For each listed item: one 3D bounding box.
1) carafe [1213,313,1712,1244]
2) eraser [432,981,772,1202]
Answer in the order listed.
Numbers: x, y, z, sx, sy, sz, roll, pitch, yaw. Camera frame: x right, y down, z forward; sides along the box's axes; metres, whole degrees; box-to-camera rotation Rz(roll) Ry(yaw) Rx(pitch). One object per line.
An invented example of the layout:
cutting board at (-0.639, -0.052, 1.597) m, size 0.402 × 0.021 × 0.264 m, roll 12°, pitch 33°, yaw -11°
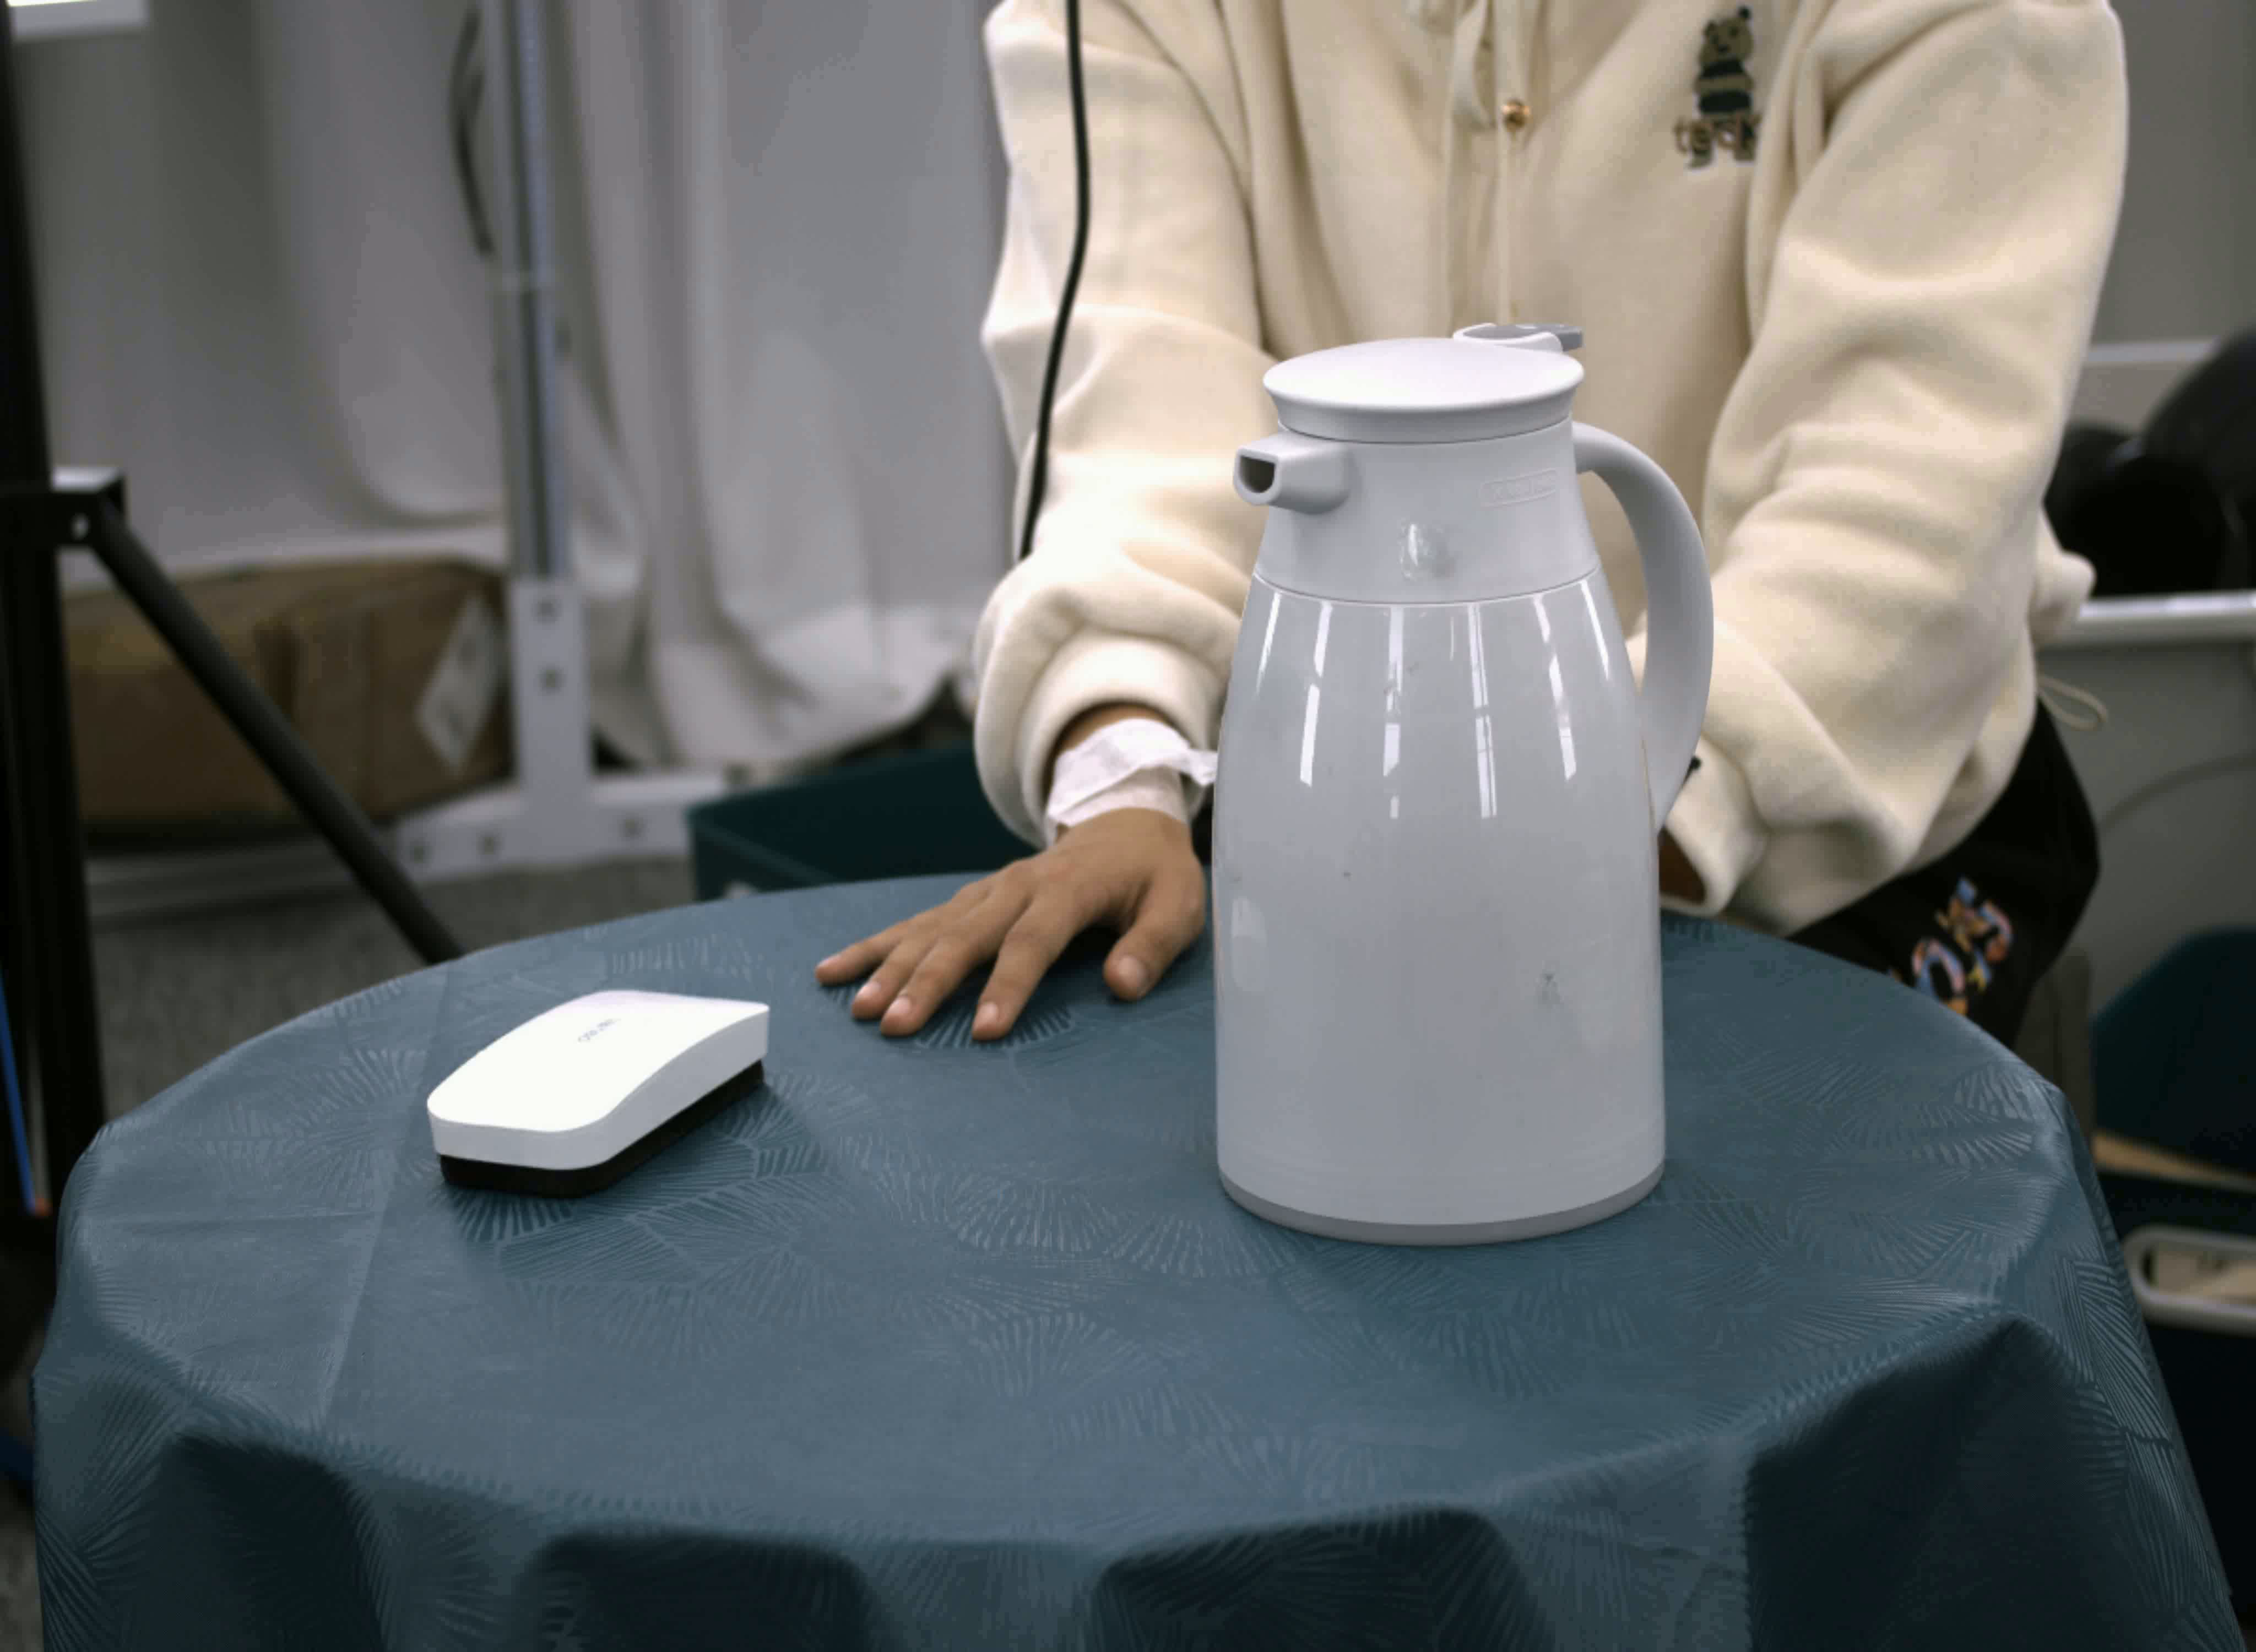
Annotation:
carafe at (0.103, -0.021, 1.542) m, size 0.164 × 0.249 × 0.135 m, roll -12°, pitch 18°, yaw -36°
eraser at (-0.158, 0.078, 1.633) m, size 0.064 × 0.034 × 0.129 m, roll 7°, pitch 19°, yaw 23°
